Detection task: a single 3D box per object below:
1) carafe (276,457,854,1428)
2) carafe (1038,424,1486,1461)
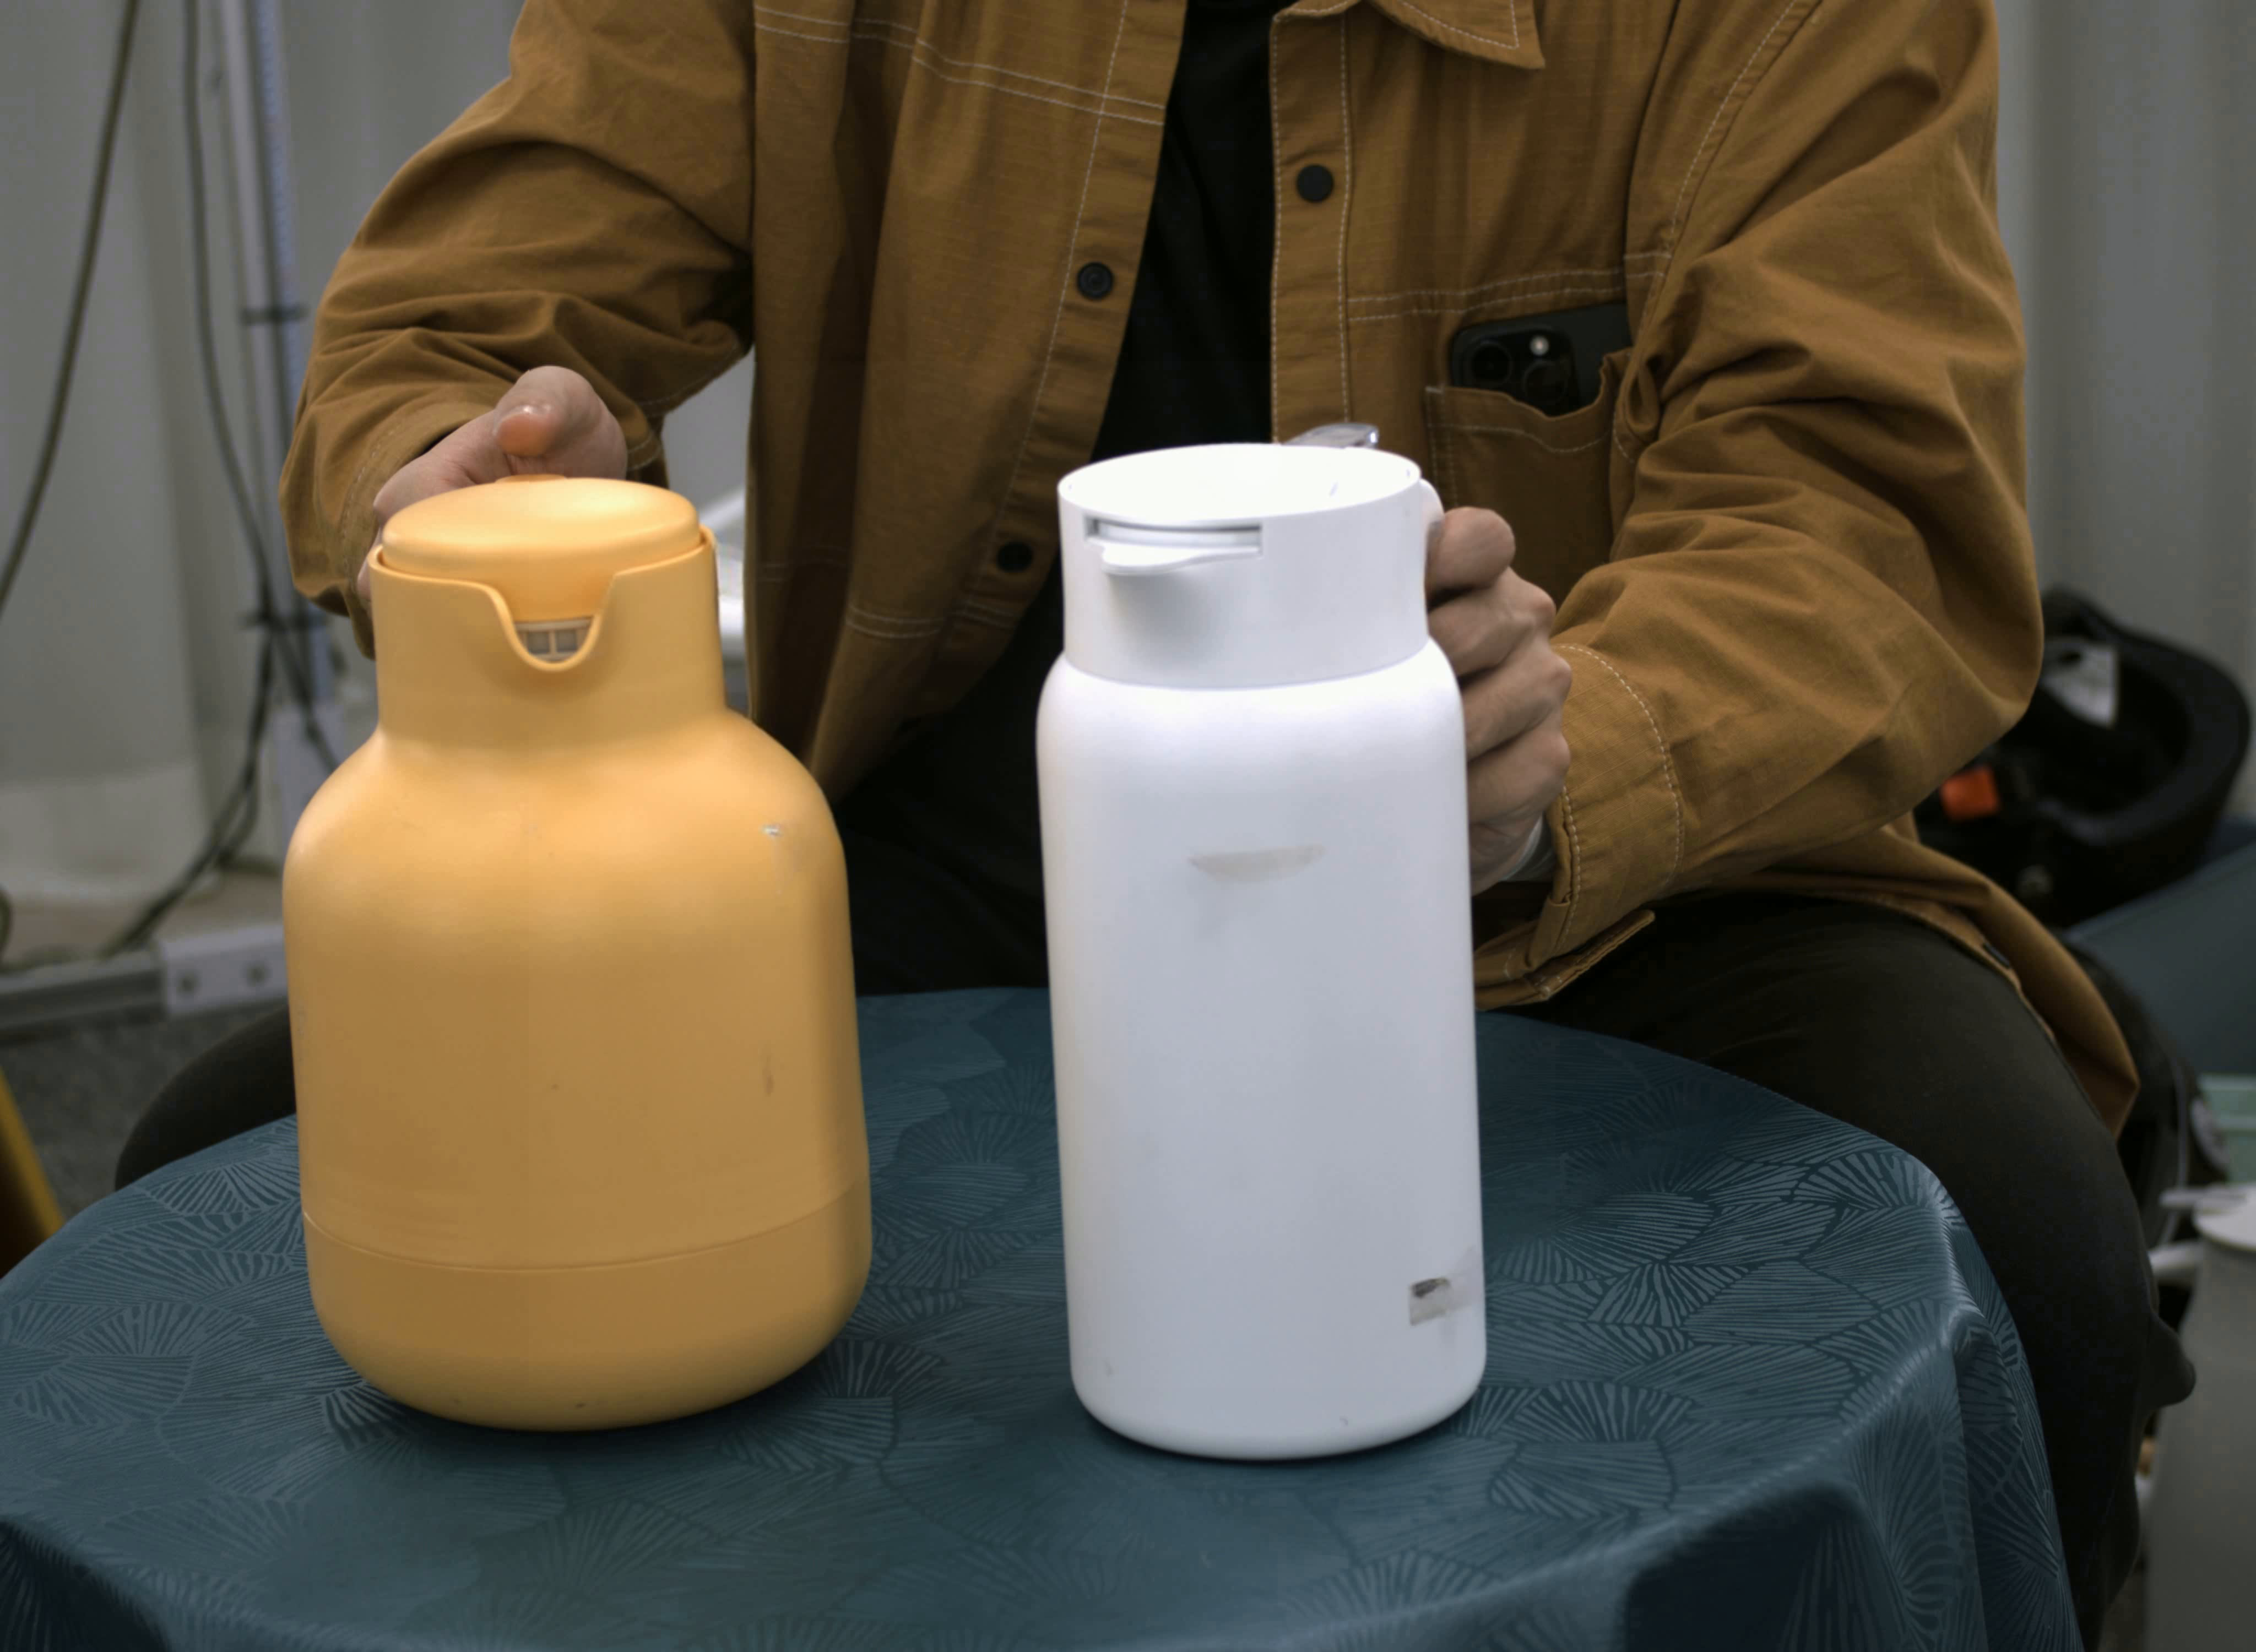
[{"bbox_3d":[-0.161,0.025,1.575,0.163,0.259,0.204,-1,15,-5],"label":"carafe"},{"bbox_3d":[0.043,0.027,1.518,0.124,0.268,0.173,2,14,27],"label":"carafe"}]
